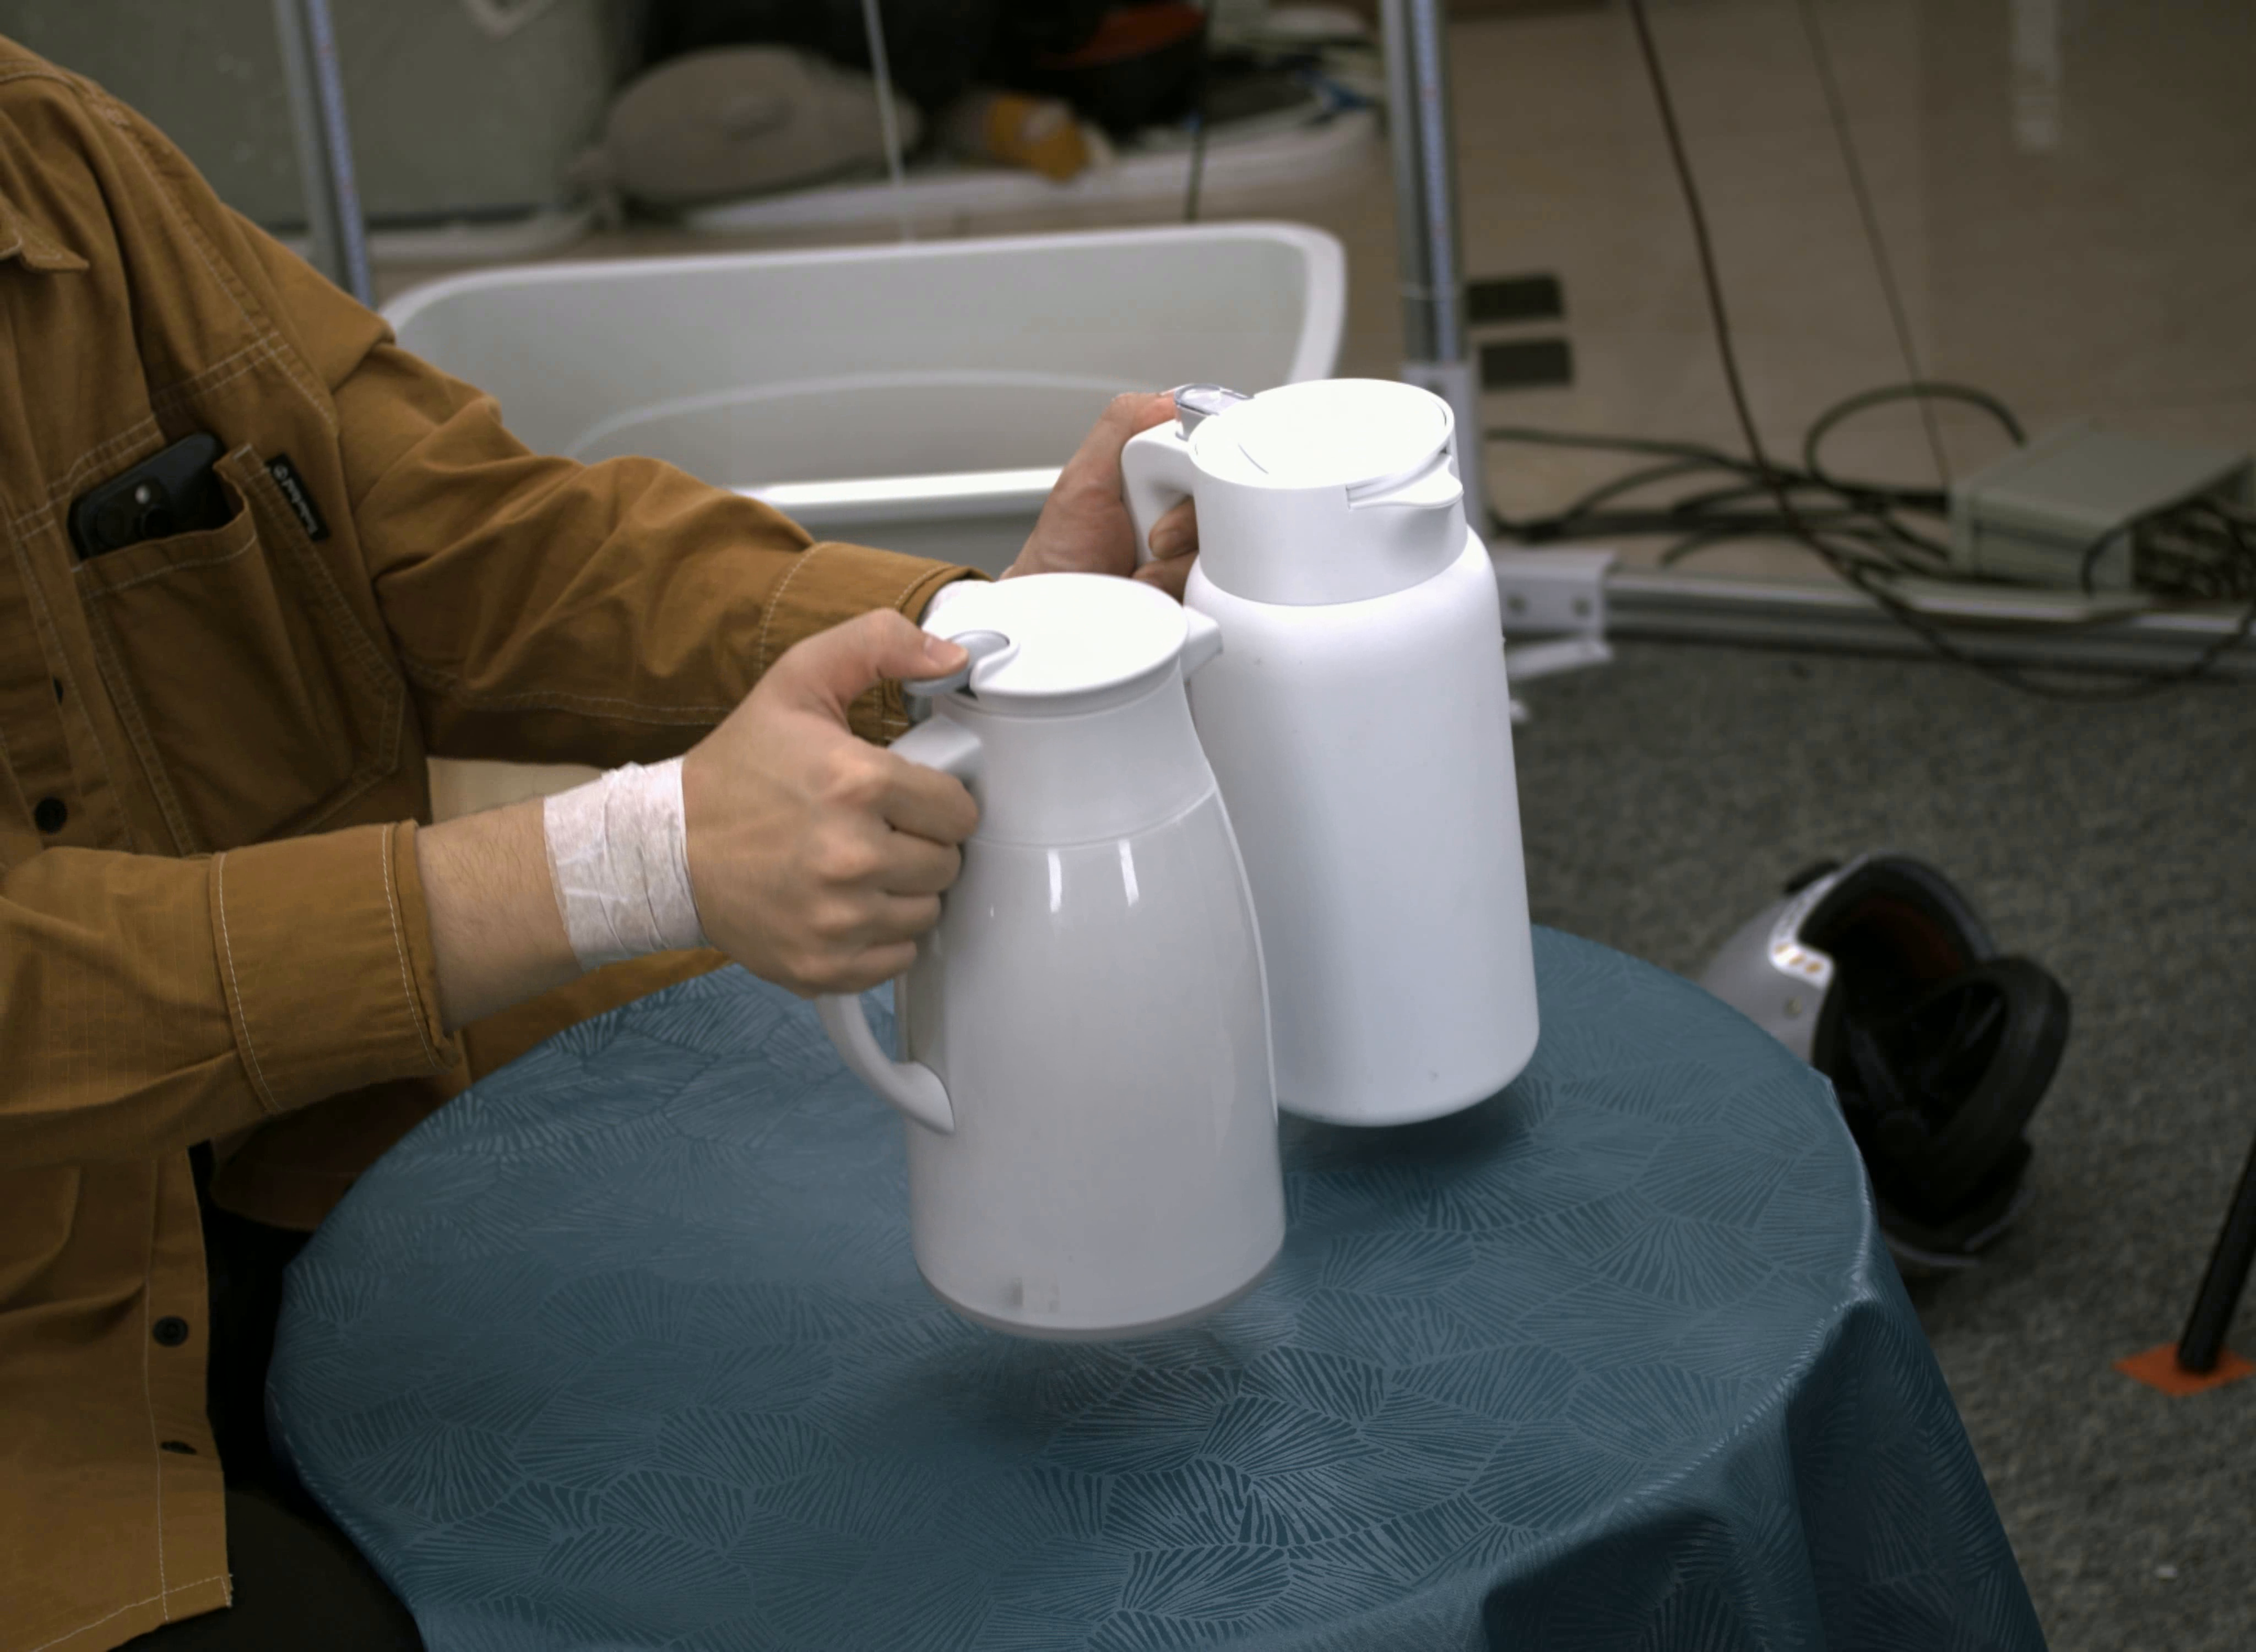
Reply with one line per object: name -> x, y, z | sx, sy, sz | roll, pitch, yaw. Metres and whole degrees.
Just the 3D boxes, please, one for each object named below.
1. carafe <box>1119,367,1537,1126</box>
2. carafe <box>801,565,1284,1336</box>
carafe -> 0.072, -0.032, 2.124 | 0.123, 0.273, 0.171 | -31, 36, -33
carafe -> -0.034, 0.042, 1.934 | 0.166, 0.253, 0.131 | -23, 34, -29
